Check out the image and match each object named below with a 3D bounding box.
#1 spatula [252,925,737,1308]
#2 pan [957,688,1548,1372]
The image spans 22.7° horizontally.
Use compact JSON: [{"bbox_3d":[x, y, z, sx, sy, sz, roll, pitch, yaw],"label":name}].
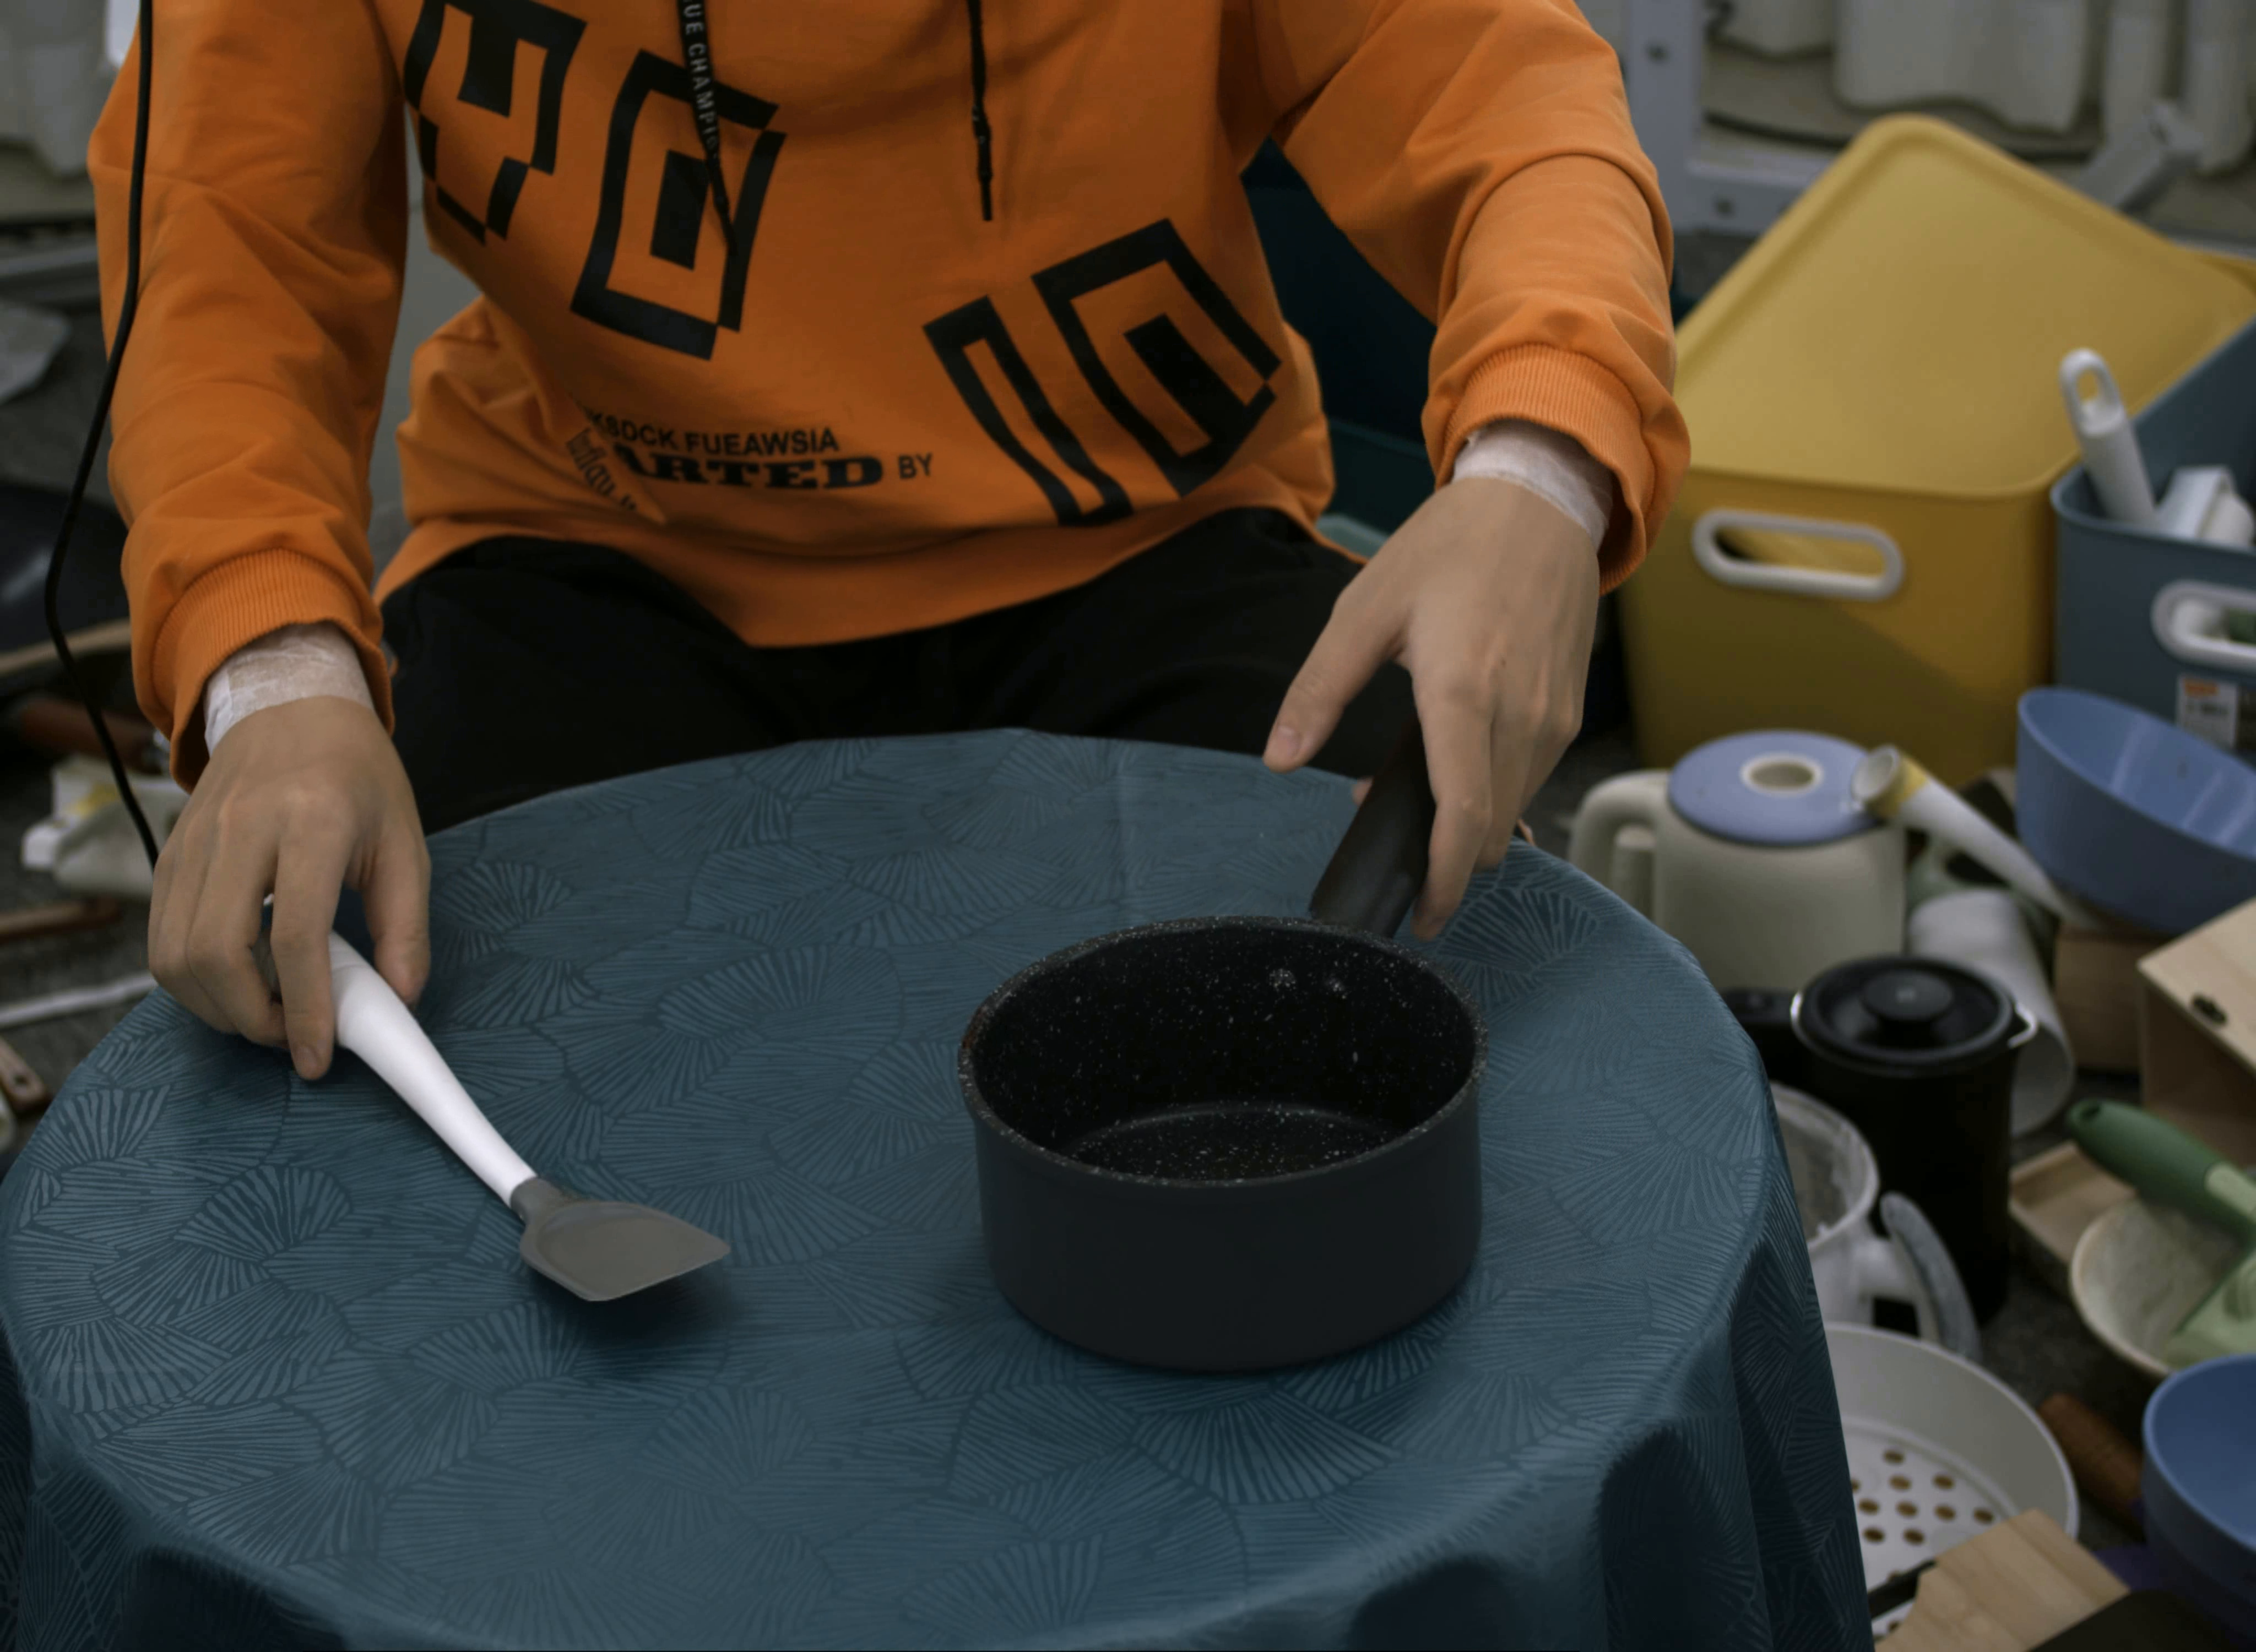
[{"bbox_3d":[-0.220,0.101,1.889,0.059,0.032,0.288,-13,28,-30],"label":"spatula"},{"bbox_3d":[0.065,0.064,1.876,0.171,0.085,0.334,10,32,23],"label":"pan"}]
